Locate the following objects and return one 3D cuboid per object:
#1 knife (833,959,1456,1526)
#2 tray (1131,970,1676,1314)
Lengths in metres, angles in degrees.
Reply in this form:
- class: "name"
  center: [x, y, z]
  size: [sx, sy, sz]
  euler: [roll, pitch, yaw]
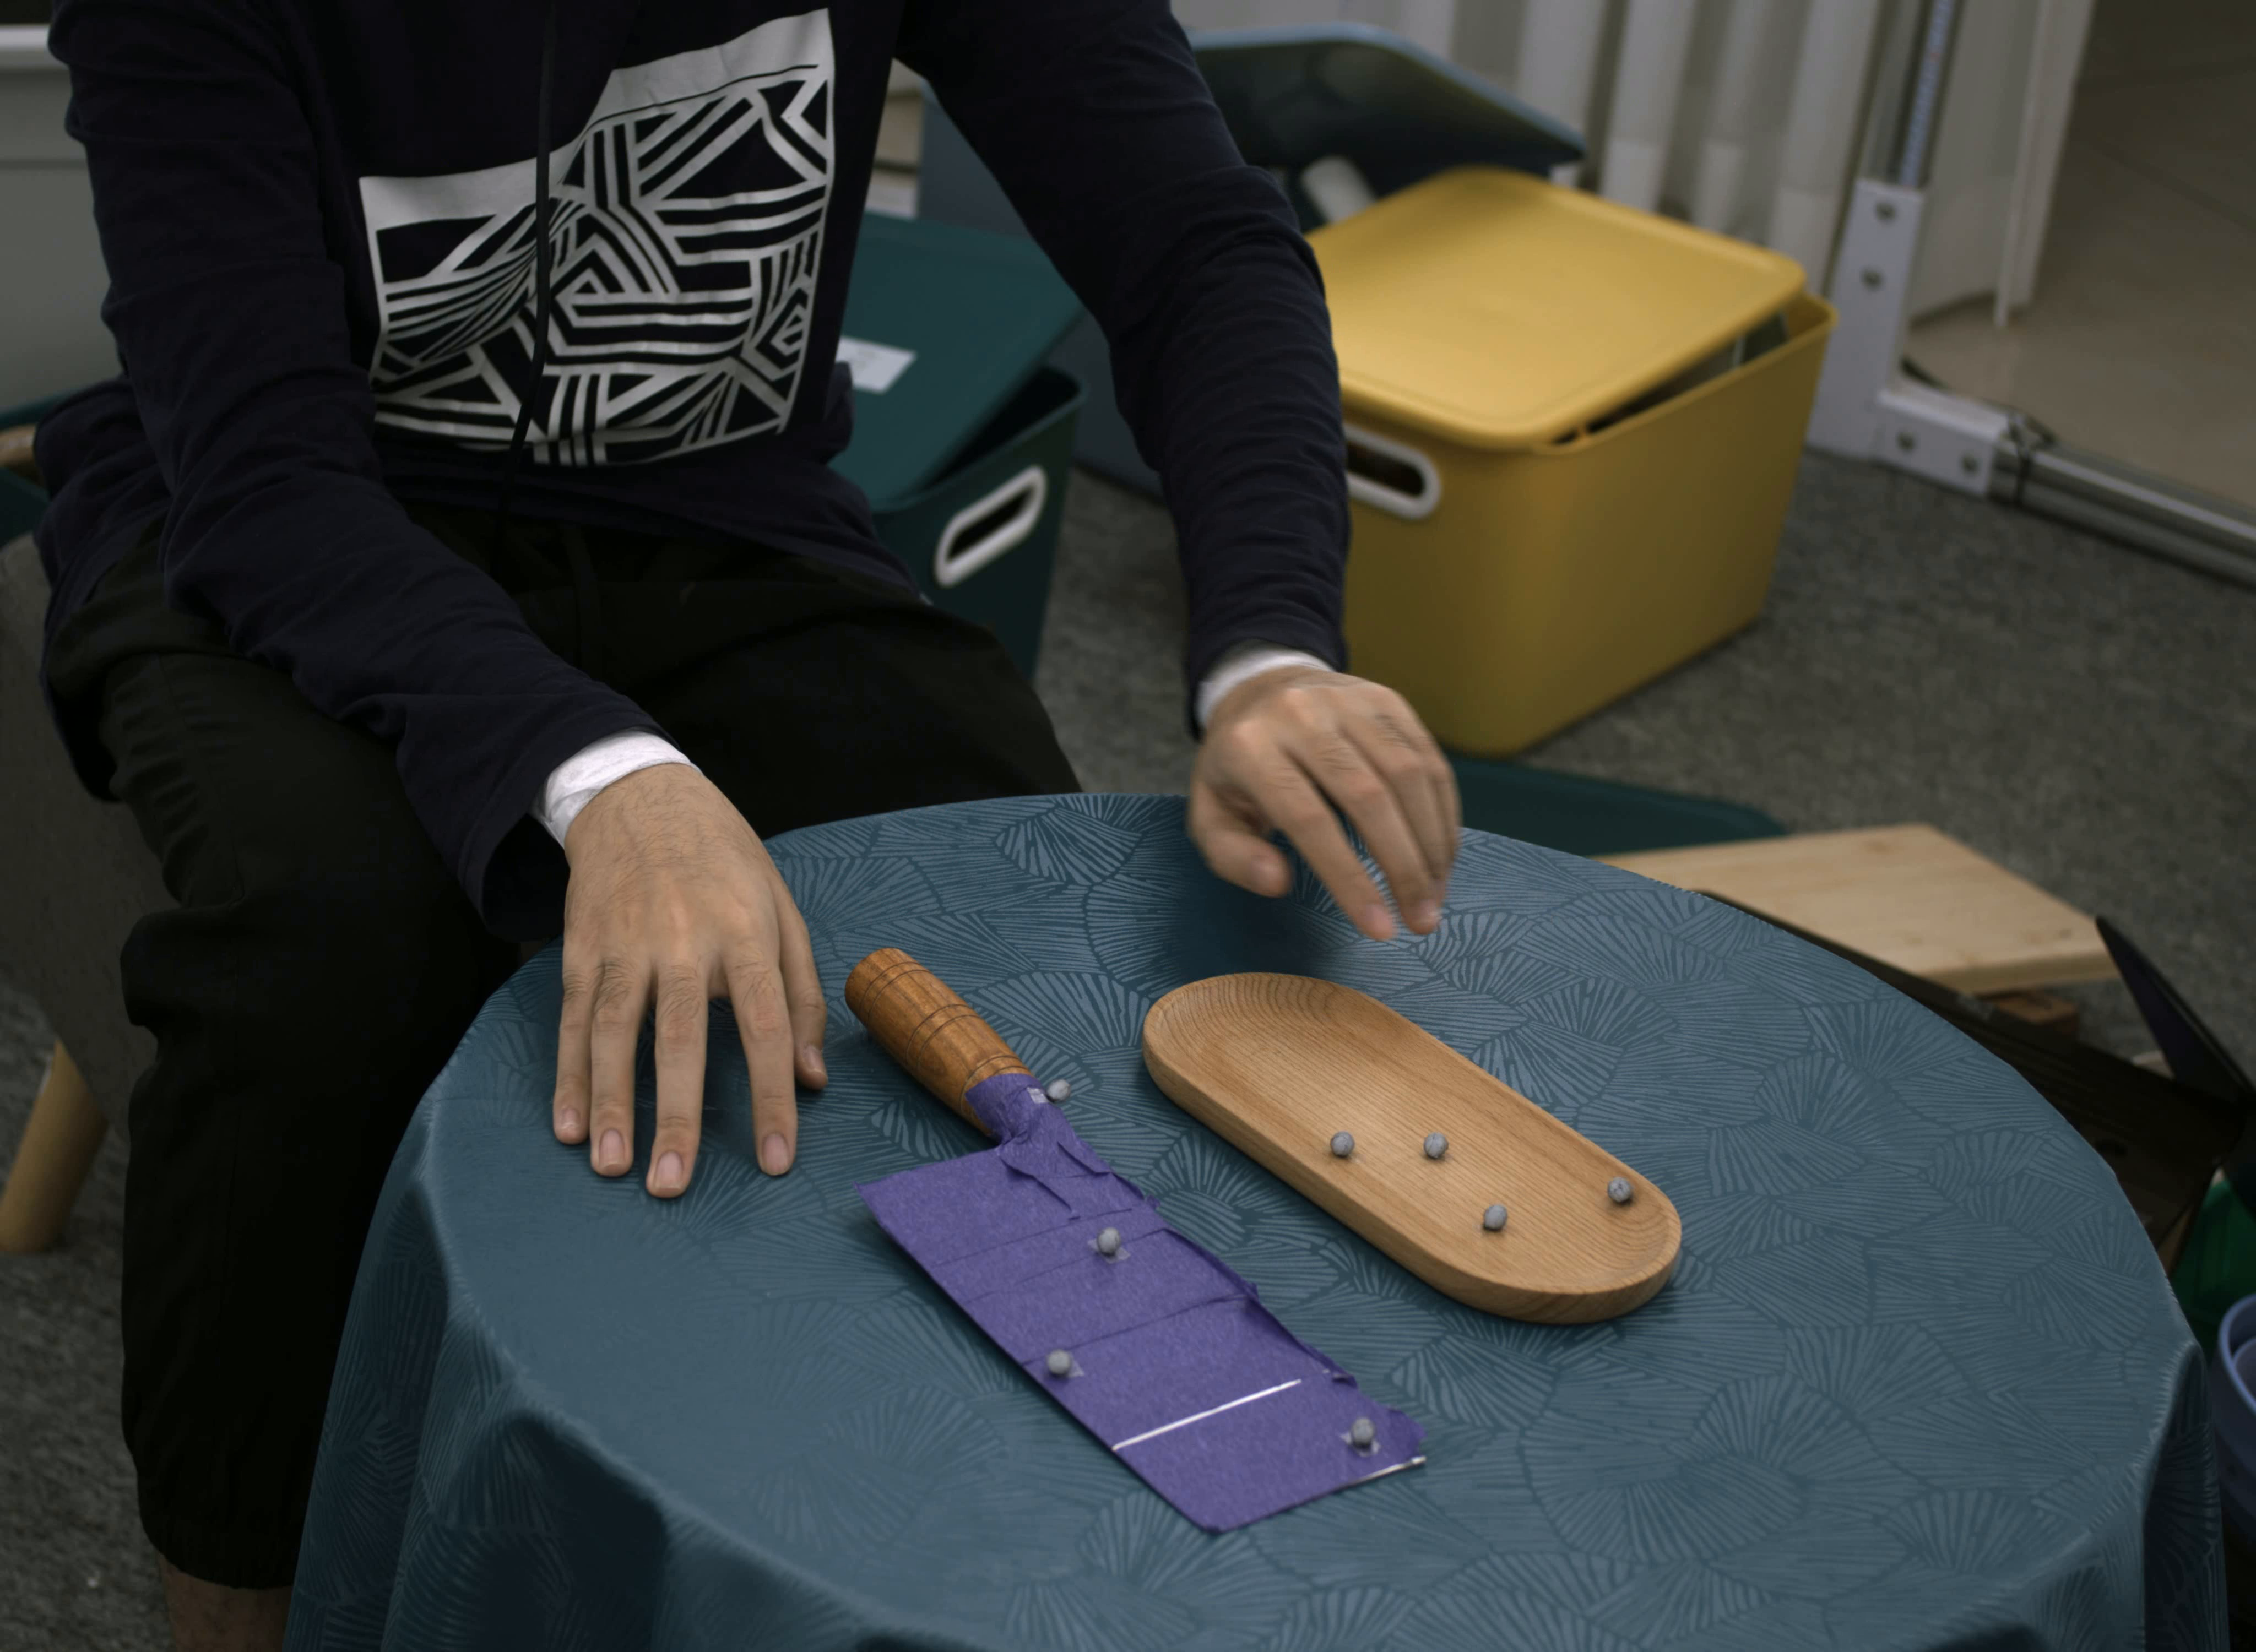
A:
- class: "knife"
  center: [-0.026, 0.132, 1.753]
  size: [0.103, 0.032, 0.318]
  euler: [-13, 33, -34]
- class: "tray"
  center: [0.093, 0.107, 1.840]
  size: [0.101, 0.020, 0.233]
  euler: [-15, 32, -37]
